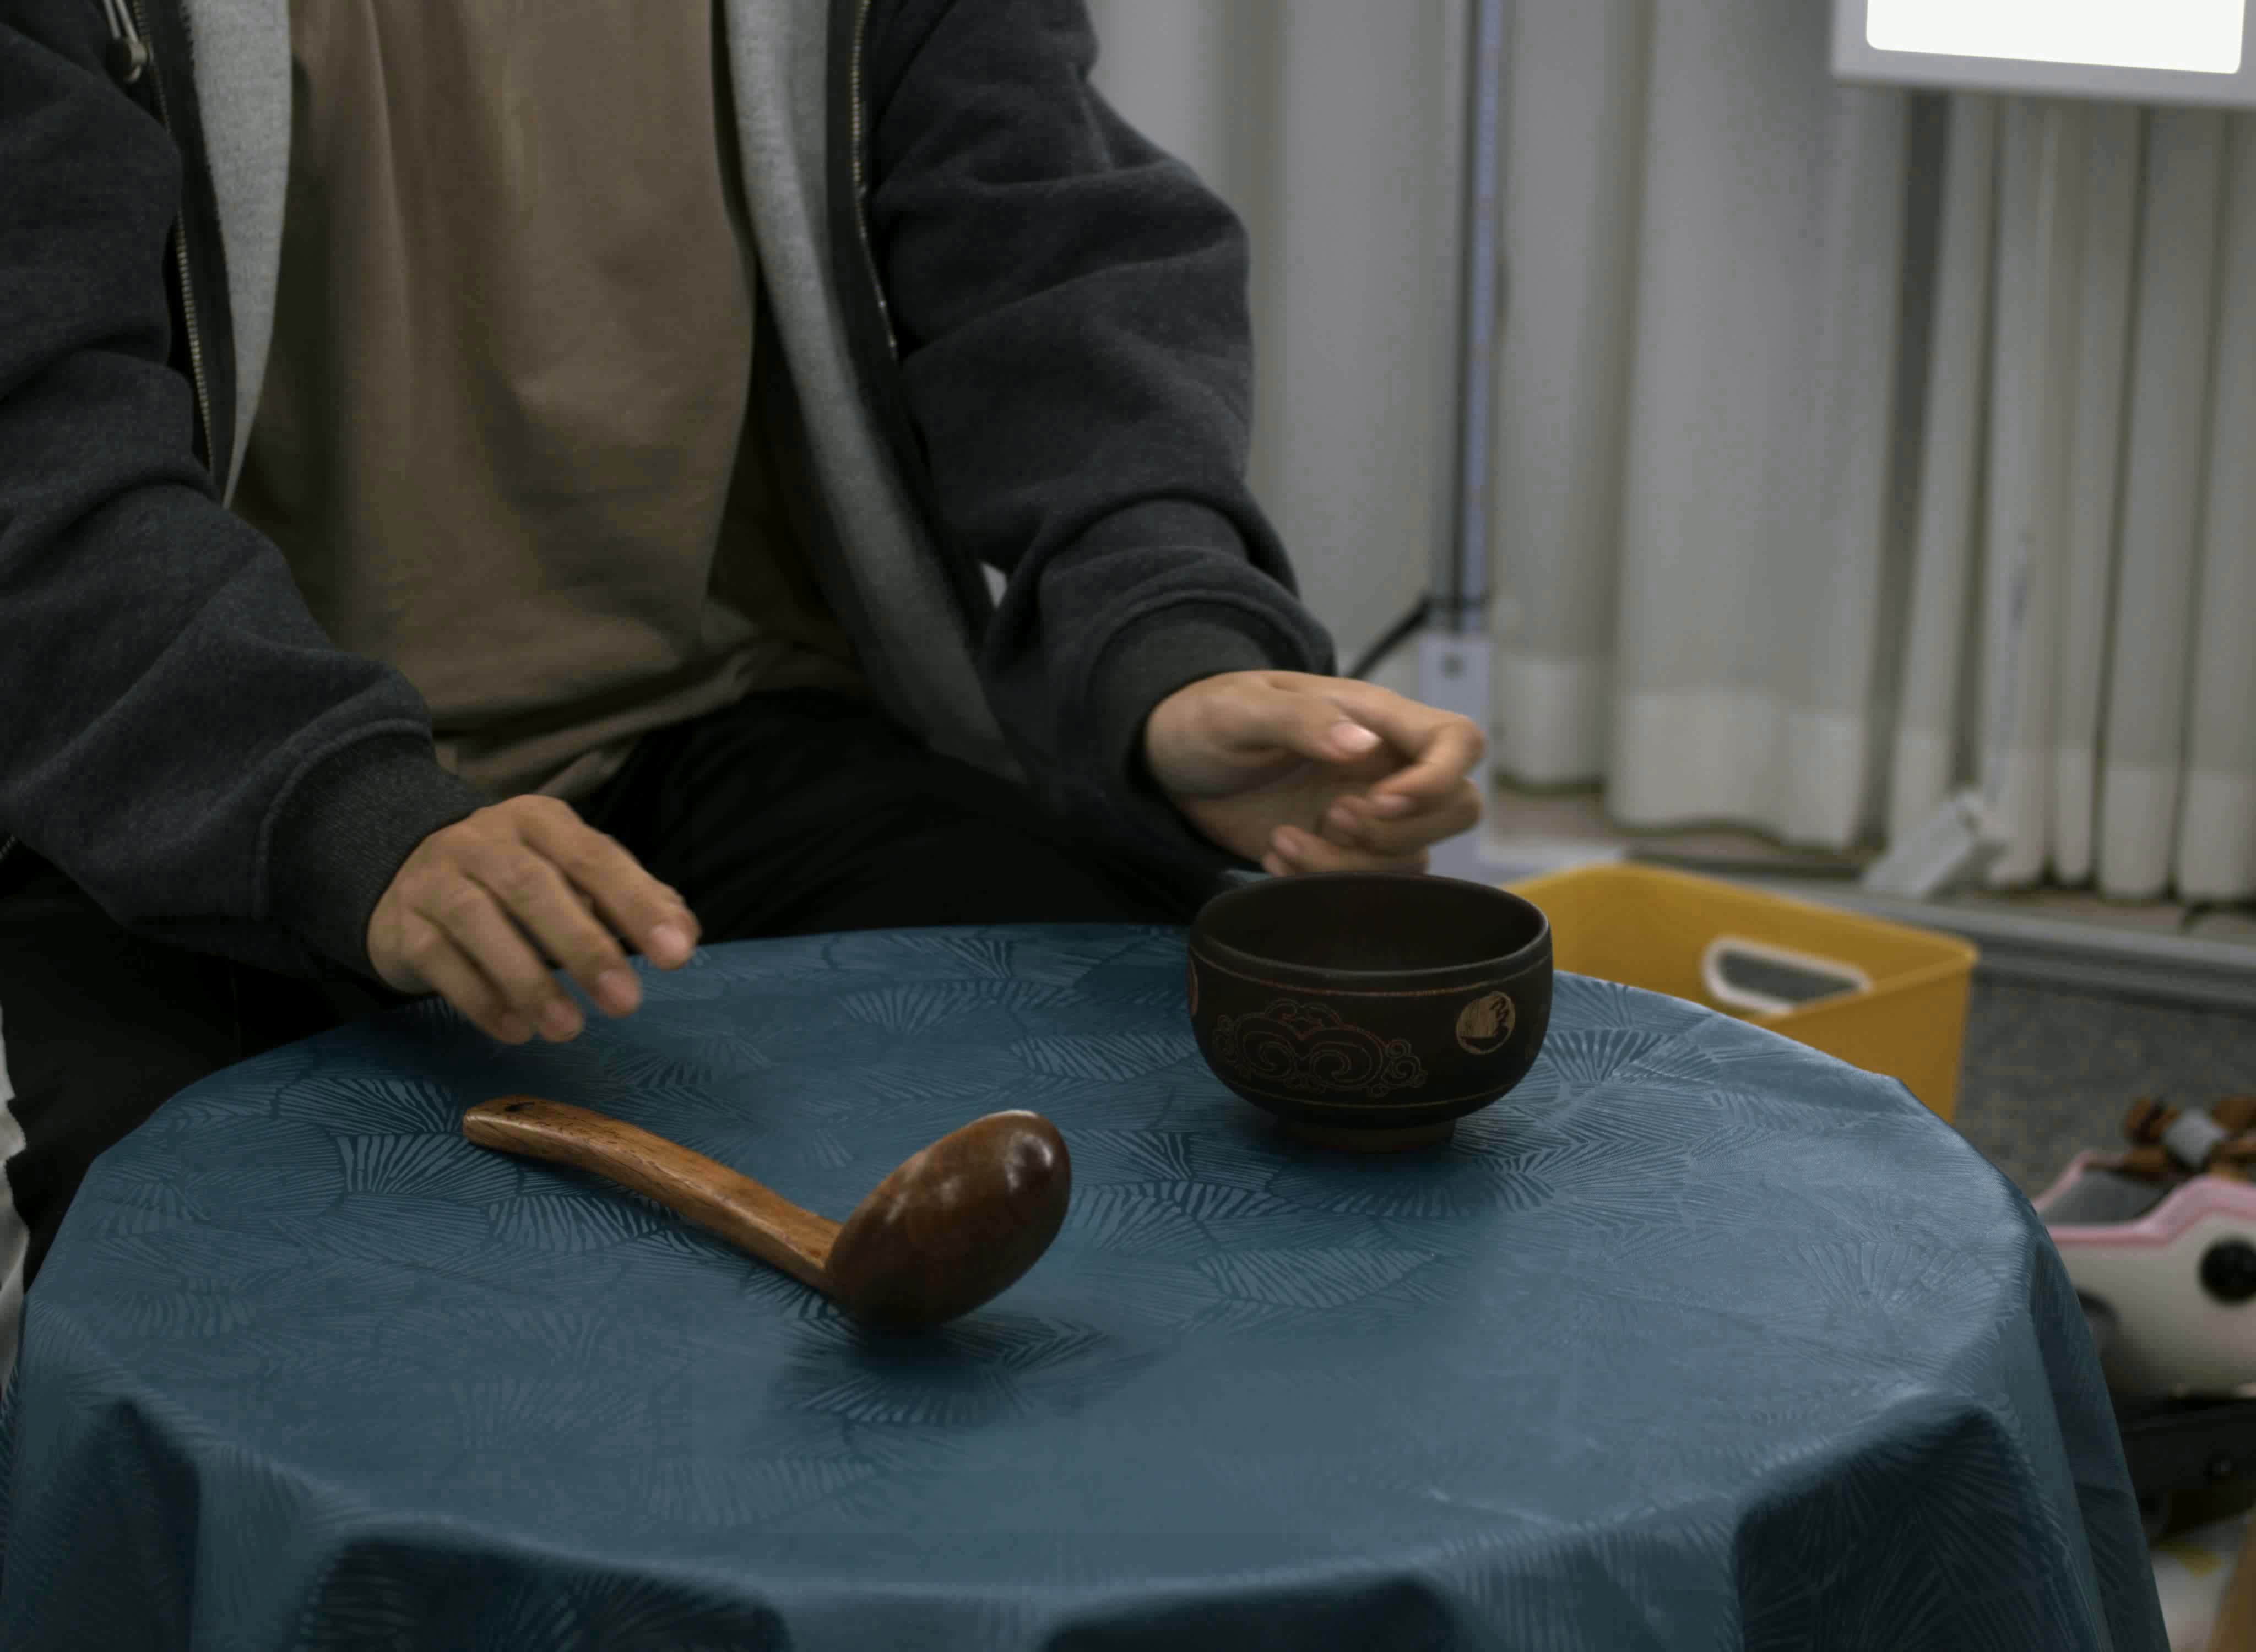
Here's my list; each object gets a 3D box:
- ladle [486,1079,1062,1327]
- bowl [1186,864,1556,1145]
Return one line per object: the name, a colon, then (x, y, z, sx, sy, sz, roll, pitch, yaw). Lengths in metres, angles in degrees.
ladle: (-0.119, 0.088, 1.559, 0.082, 0.077, 0.270, -18, 24, -35)
bowl: (0.077, 0.060, 1.674, 0.117, 0.070, 0.117, 0, 16, 0)
